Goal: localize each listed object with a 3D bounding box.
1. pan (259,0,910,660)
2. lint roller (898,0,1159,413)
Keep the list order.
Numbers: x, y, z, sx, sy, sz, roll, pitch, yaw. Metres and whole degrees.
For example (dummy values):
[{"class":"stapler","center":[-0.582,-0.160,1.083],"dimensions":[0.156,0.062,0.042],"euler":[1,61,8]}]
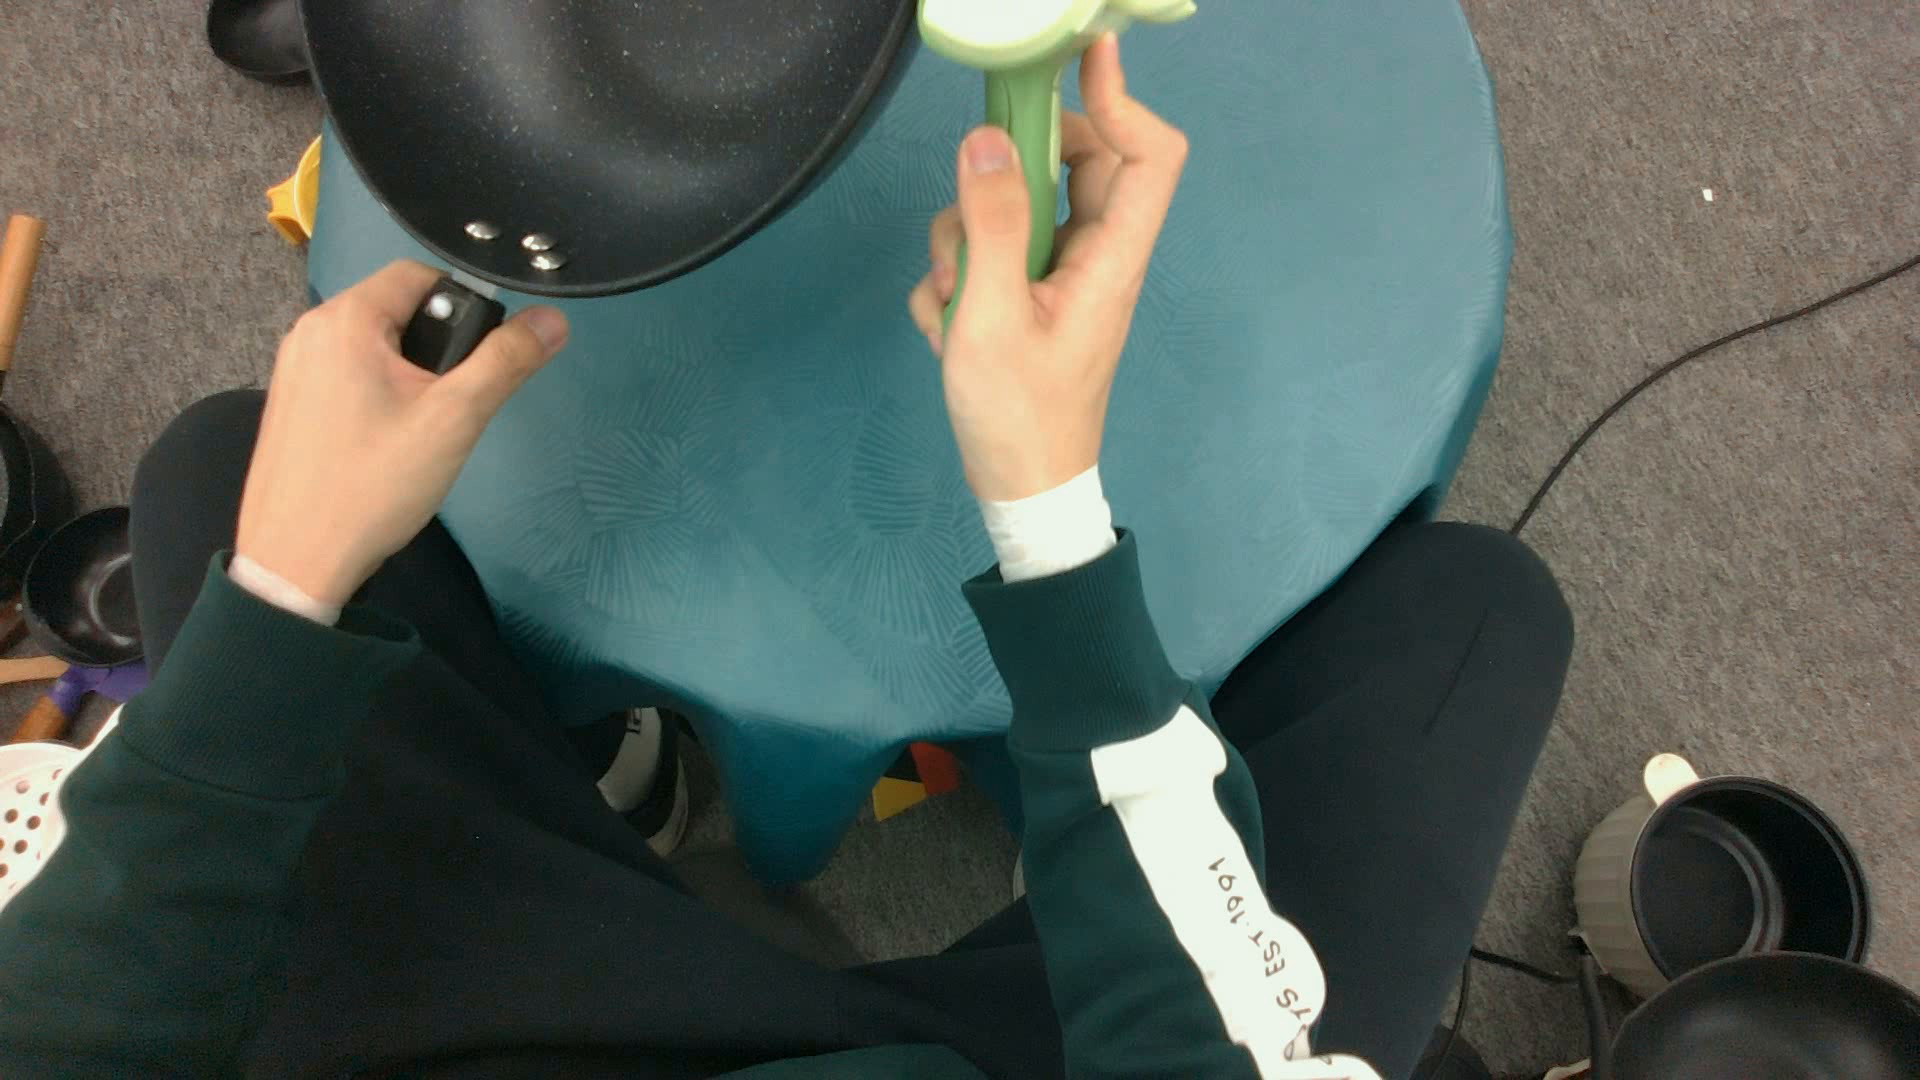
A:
[{"class":"pan","center":[-0.159,-0.175,0.527],"dimensions":[0.310,0.112,0.475],"euler":[26,104,23]},{"class":"lint roller","center":[0.025,-0.133,0.471],"dimensions":[0.082,0.199,0.183],"euler":[1,109,7]}]
